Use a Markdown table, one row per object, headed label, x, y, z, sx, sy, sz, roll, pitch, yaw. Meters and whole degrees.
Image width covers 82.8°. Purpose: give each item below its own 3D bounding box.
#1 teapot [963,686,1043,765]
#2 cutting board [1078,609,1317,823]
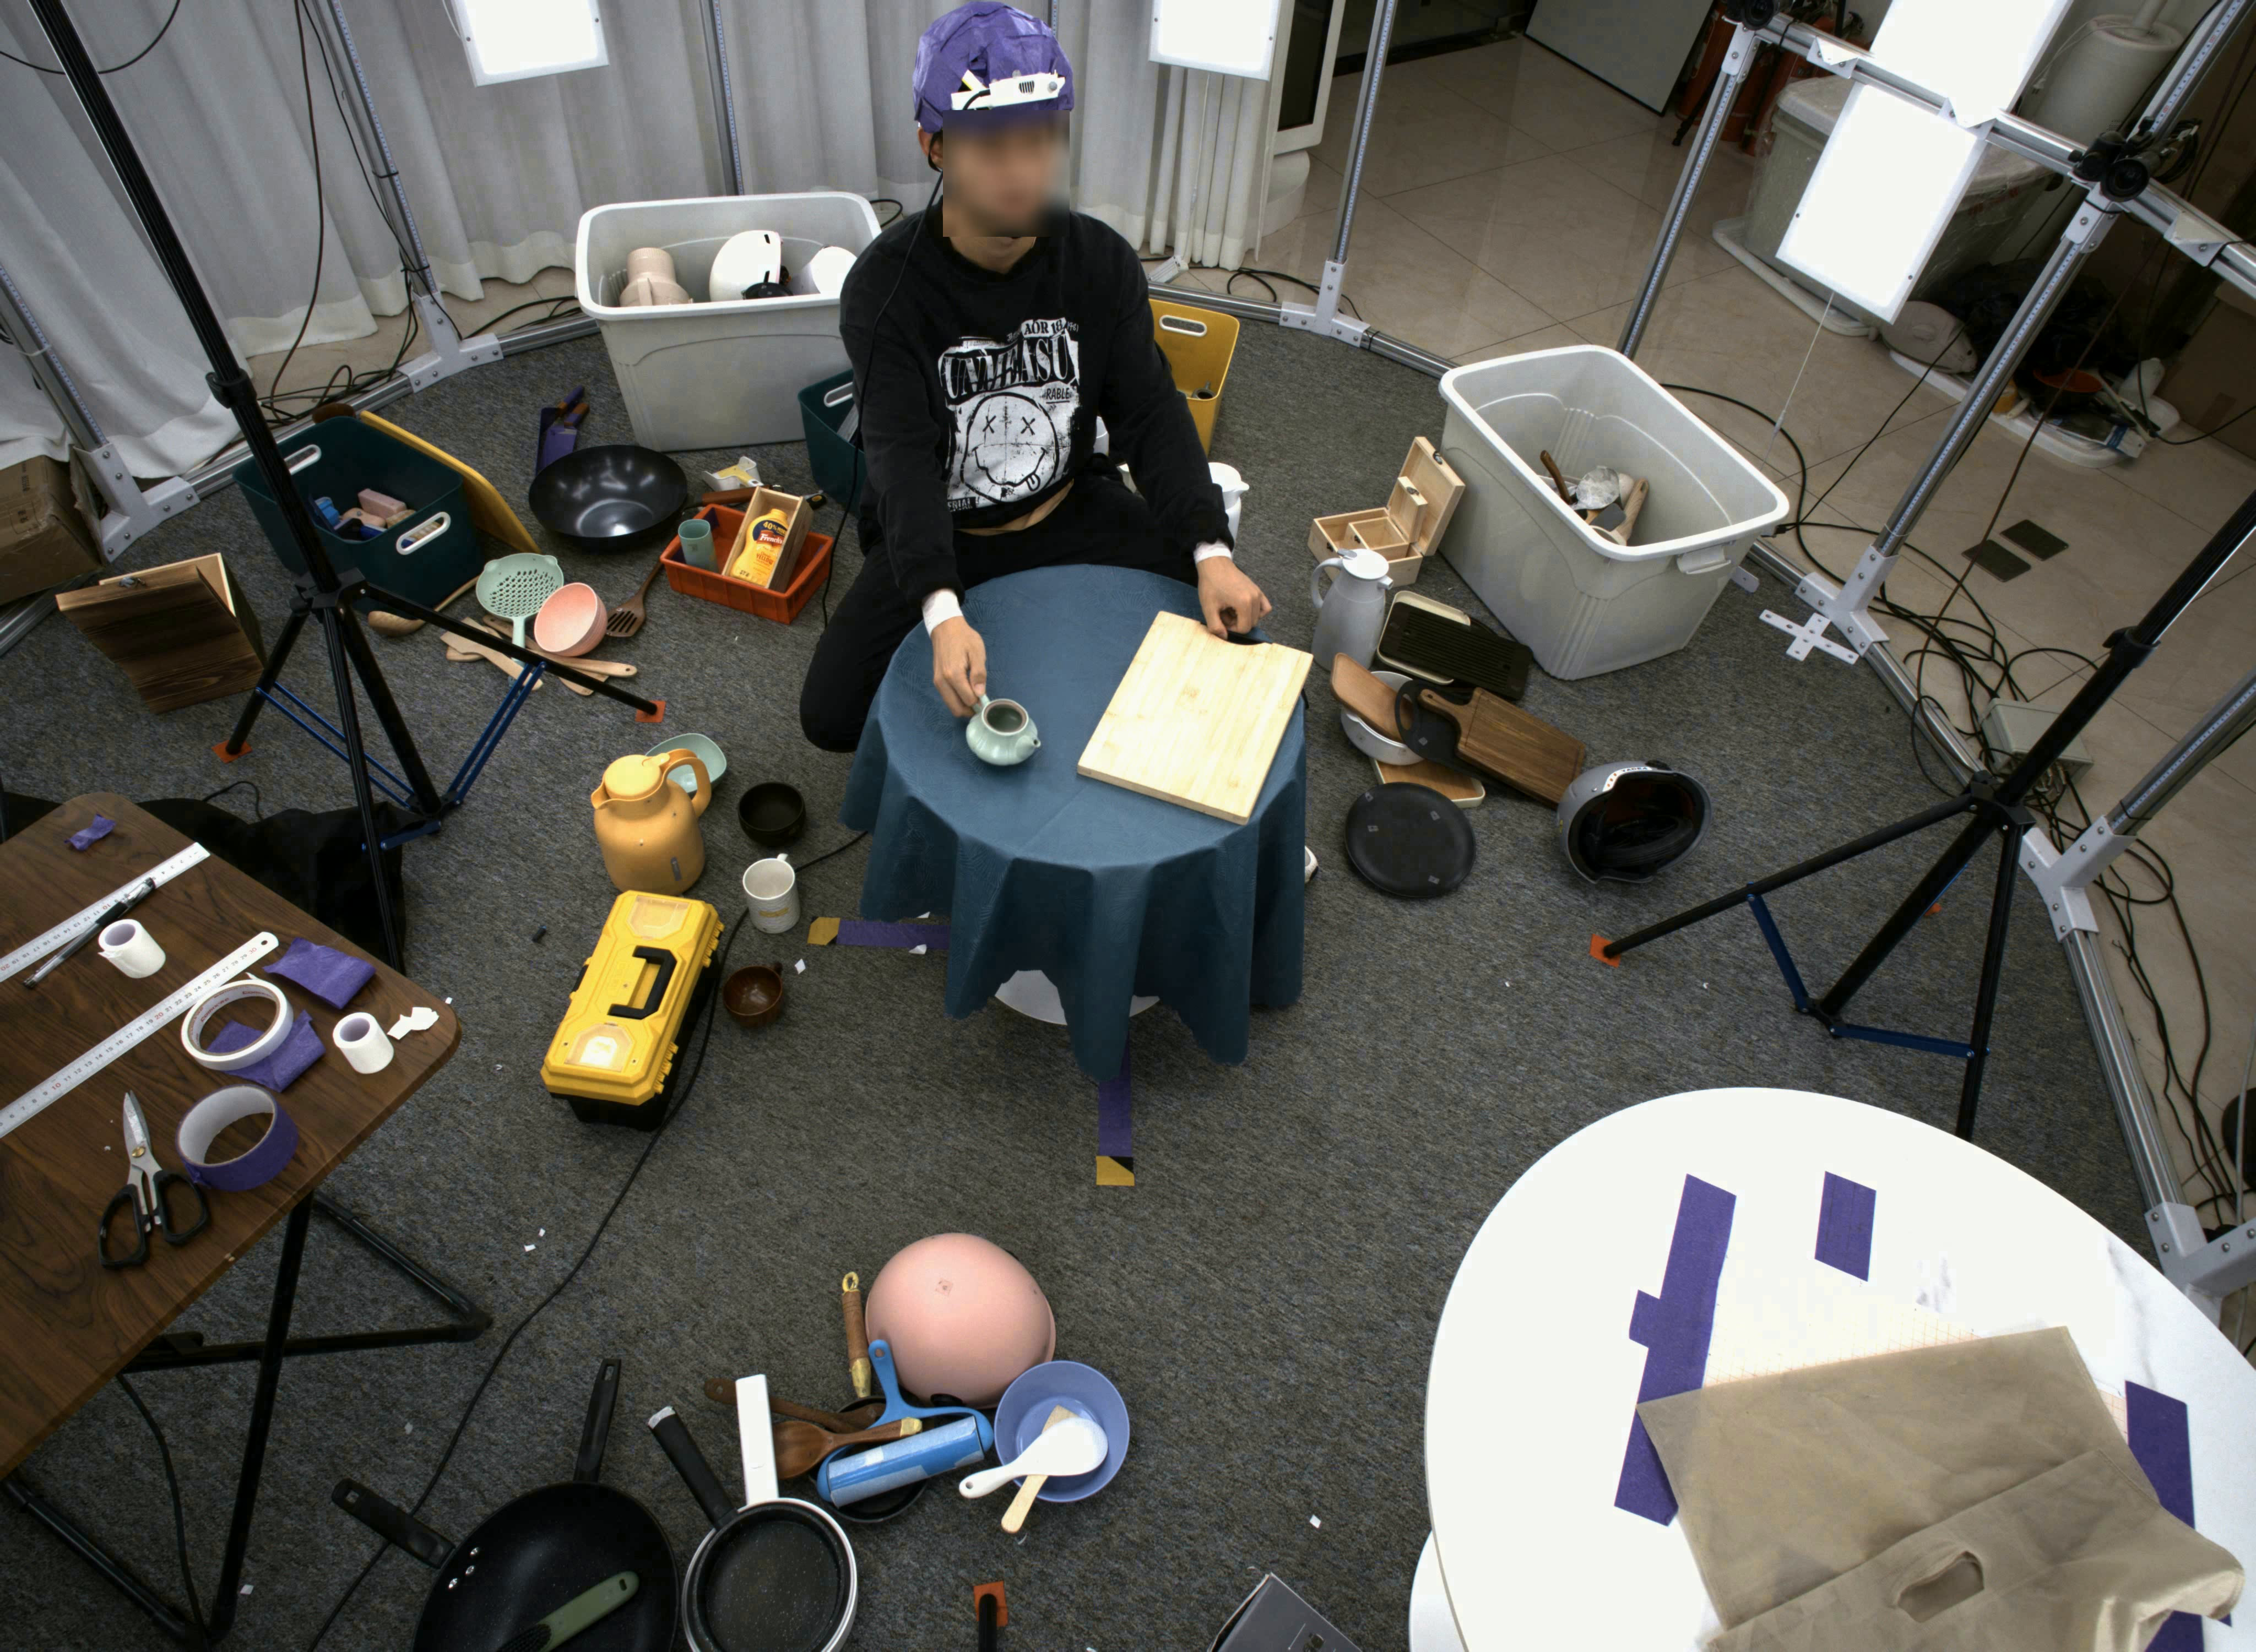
| label | x | y | z | sx | sy | sz | roll | pitch | yaw |
| --- | --- | --- | --- | --- | --- | --- | --- | --- | --- |
| teapot | -0.169 | -0.133 | 1.712 | 0.138 | 0.060 | 0.097 | 40 | 57 | 18 |
| cutting board | 0.104 | -0.165 | 1.808 | 0.251 | 0.023 | 0.356 | 17 | 50 | 10 |
